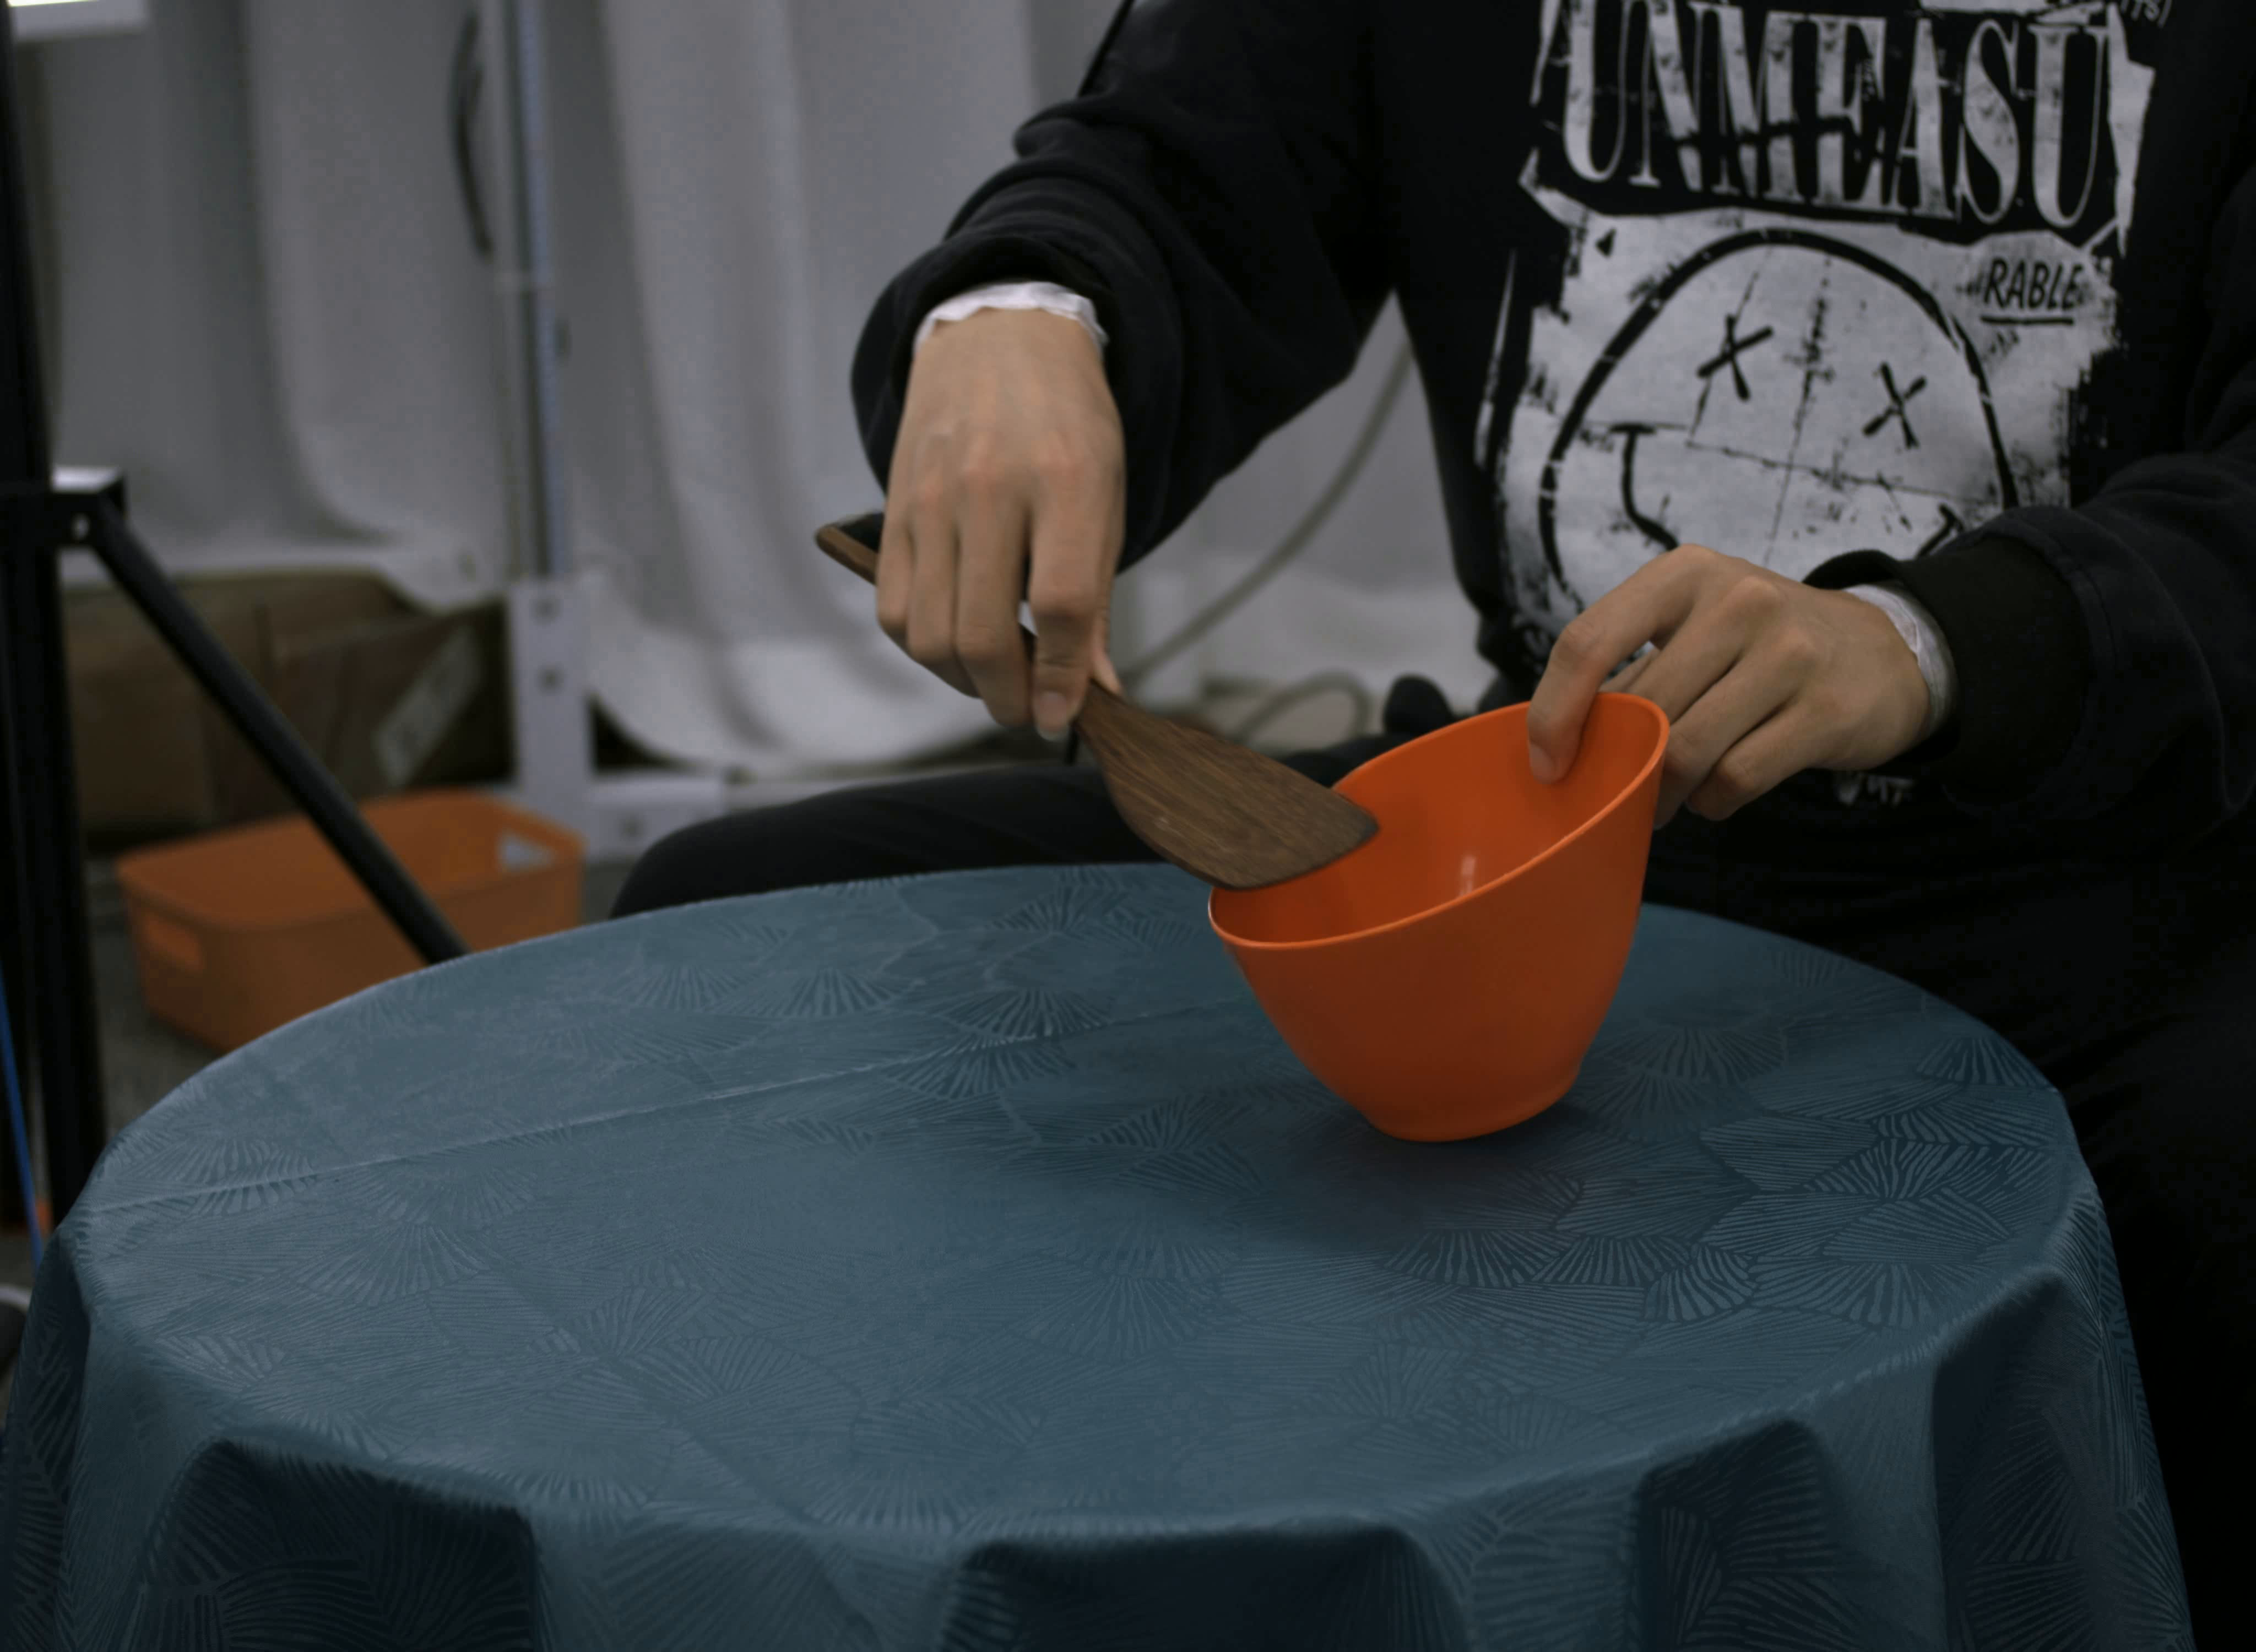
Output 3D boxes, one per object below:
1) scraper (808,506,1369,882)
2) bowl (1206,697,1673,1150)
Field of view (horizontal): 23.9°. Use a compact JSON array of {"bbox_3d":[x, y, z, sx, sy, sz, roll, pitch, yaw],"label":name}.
[{"bbox_3d":[-0.020,-0.043,1.634,0.215,0.011,0.074,37,37,30],"label":"scraper"},{"bbox_3d":[0.101,0.035,1.585,0.148,0.104,0.149,-15,22,5],"label":"bowl"}]
